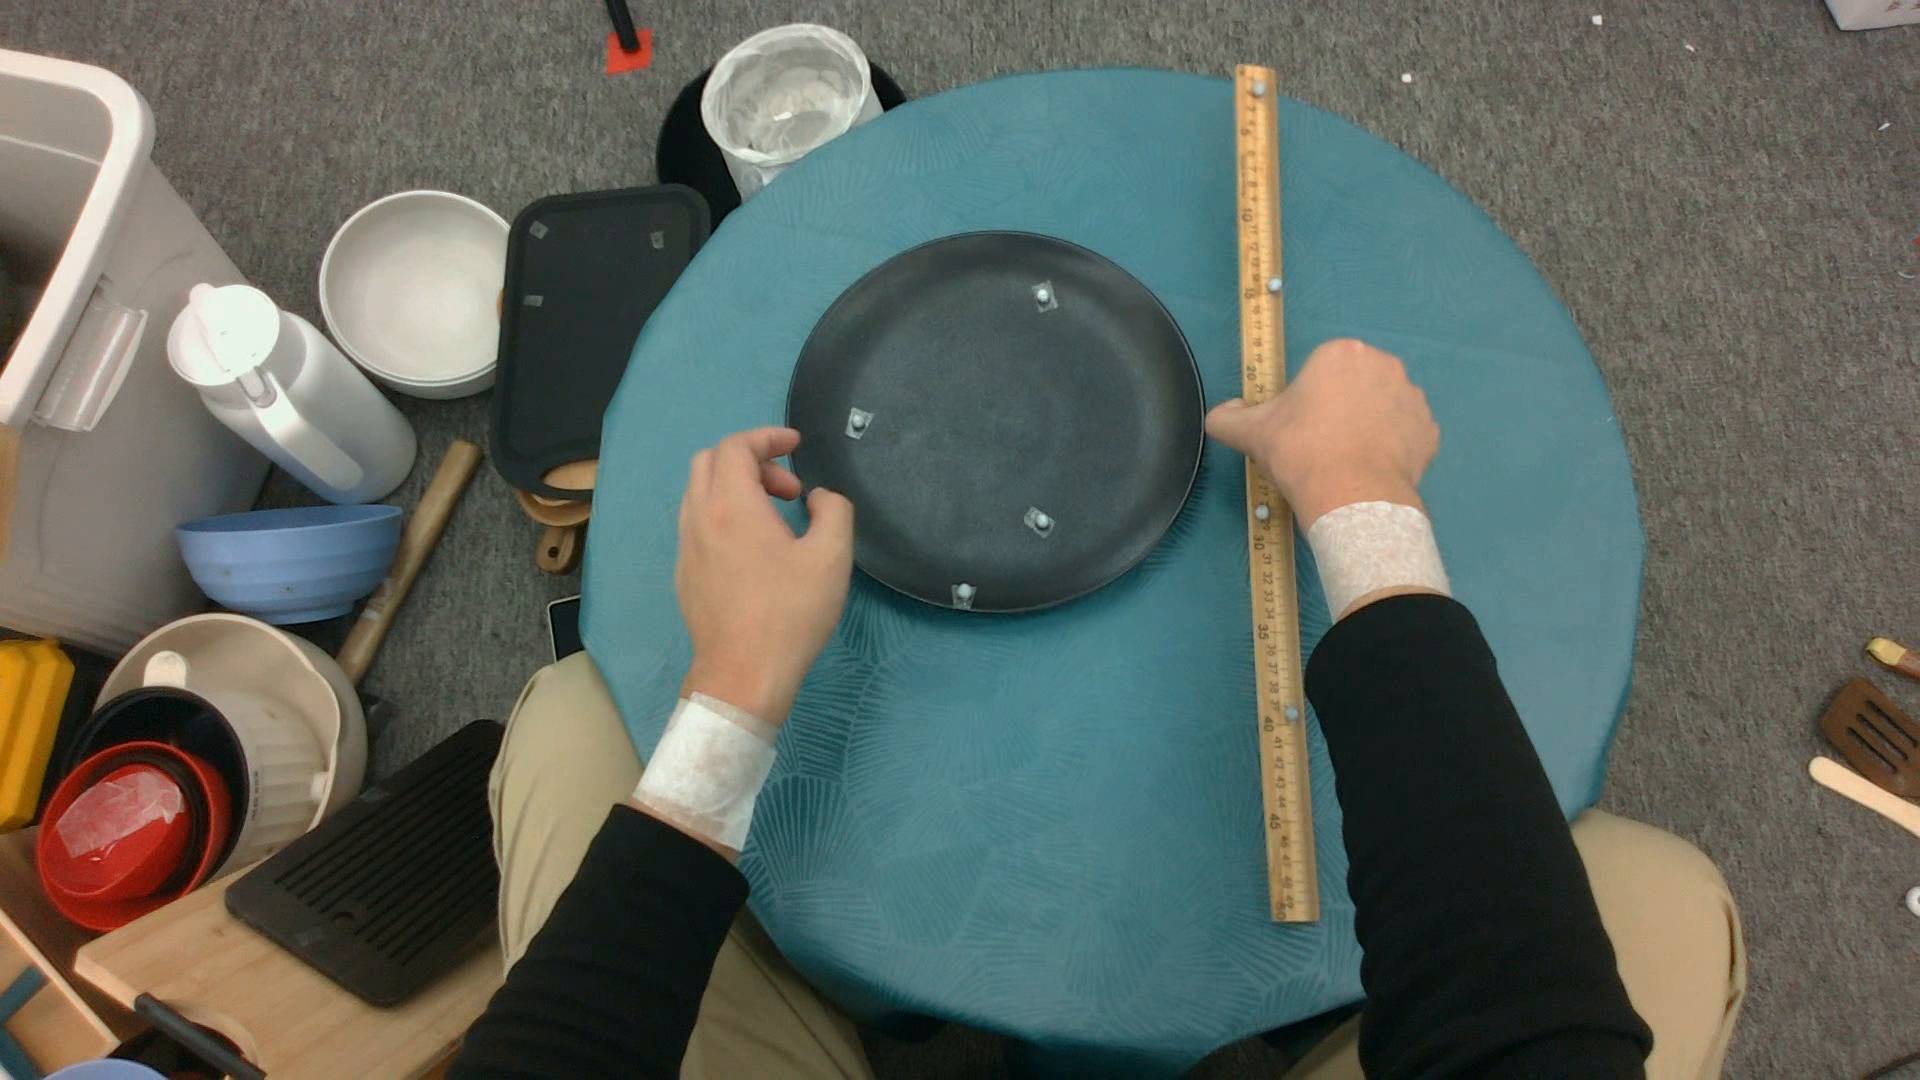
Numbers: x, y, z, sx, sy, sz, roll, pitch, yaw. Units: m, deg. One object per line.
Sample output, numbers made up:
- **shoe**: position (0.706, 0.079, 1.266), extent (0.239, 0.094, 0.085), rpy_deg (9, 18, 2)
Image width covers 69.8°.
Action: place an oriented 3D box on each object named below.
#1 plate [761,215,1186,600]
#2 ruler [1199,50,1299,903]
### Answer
- **plate**: position (0.007, -0.079, 0.798), extent (0.244, 0.023, 0.245), rpy_deg (0, 70, 1)
- **ruler**: position (0.159, -0.055, 0.772), extent (0.027, 0.006, 0.501), rpy_deg (2, 75, -8)
